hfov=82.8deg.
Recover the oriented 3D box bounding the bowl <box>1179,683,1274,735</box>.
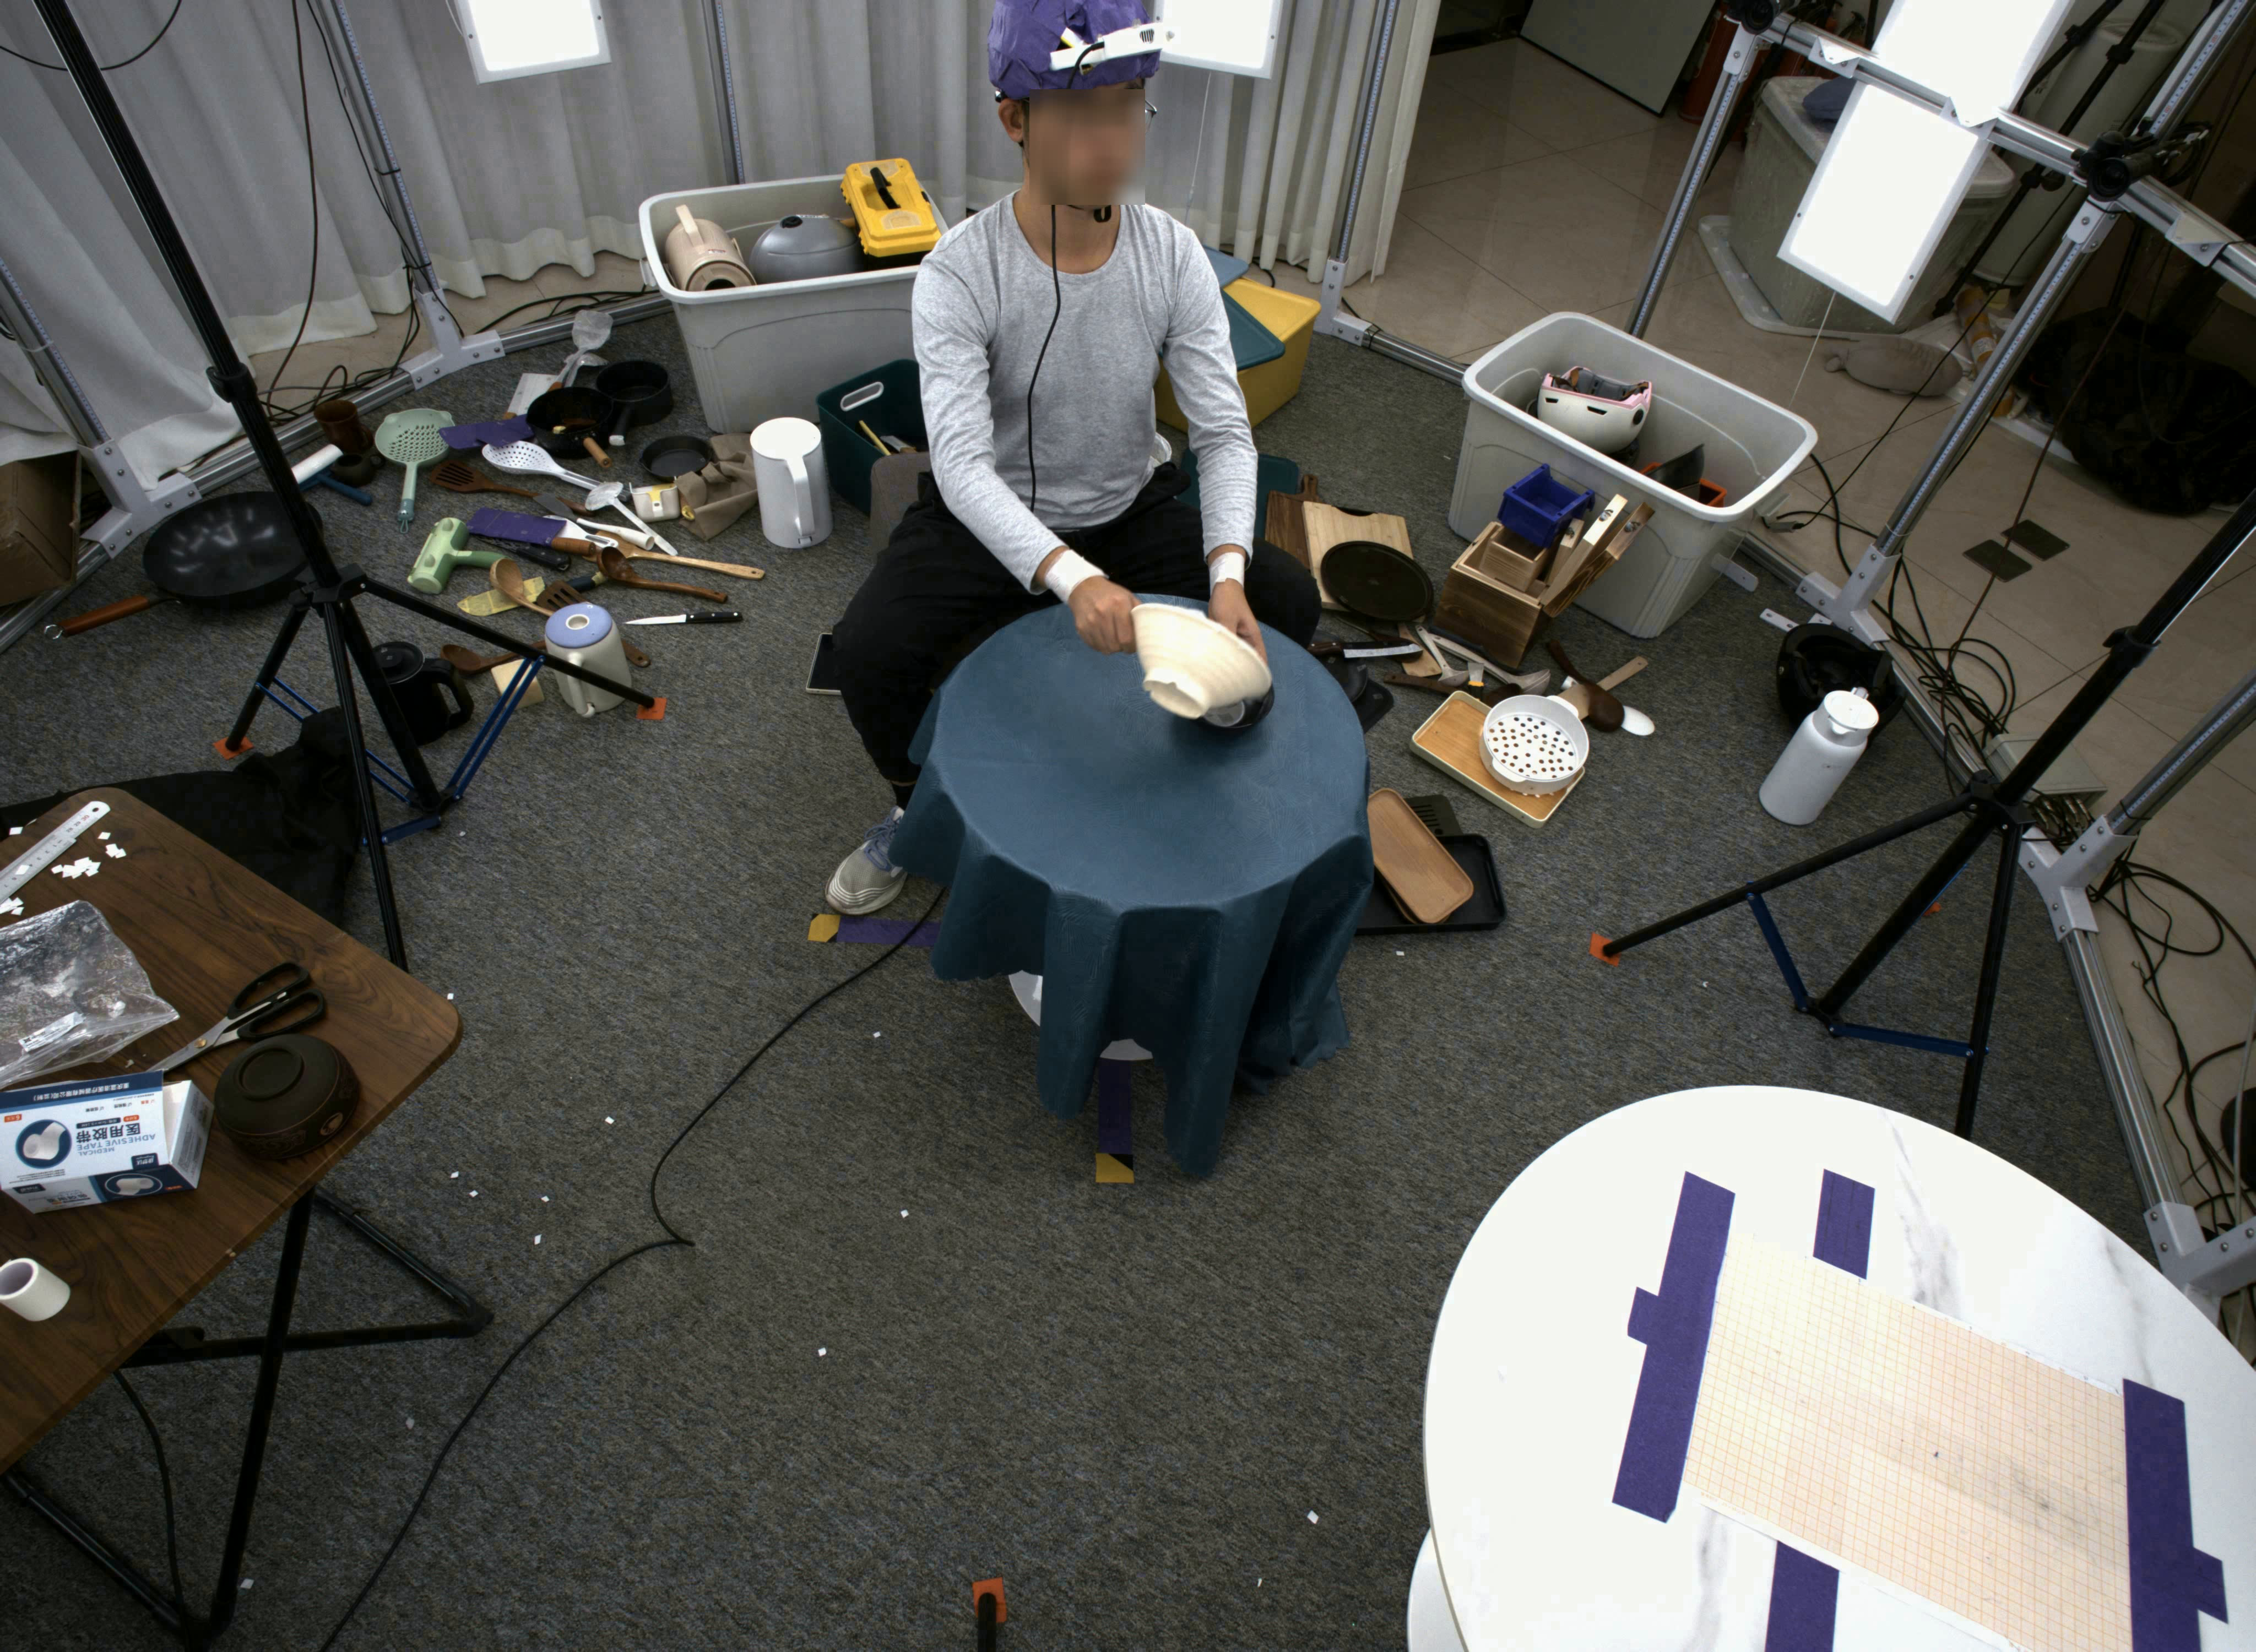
[{"bbox_3d":[0.132,-0.176,1.798,0.140,0.048,0.143,2,51,-3],"label":"bowl"}]

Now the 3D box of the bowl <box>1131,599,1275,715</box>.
[{"bbox_3d":[0.079,-0.197,1.628,0.205,0.200,0.079,24,75,15],"label":"bowl"}]
